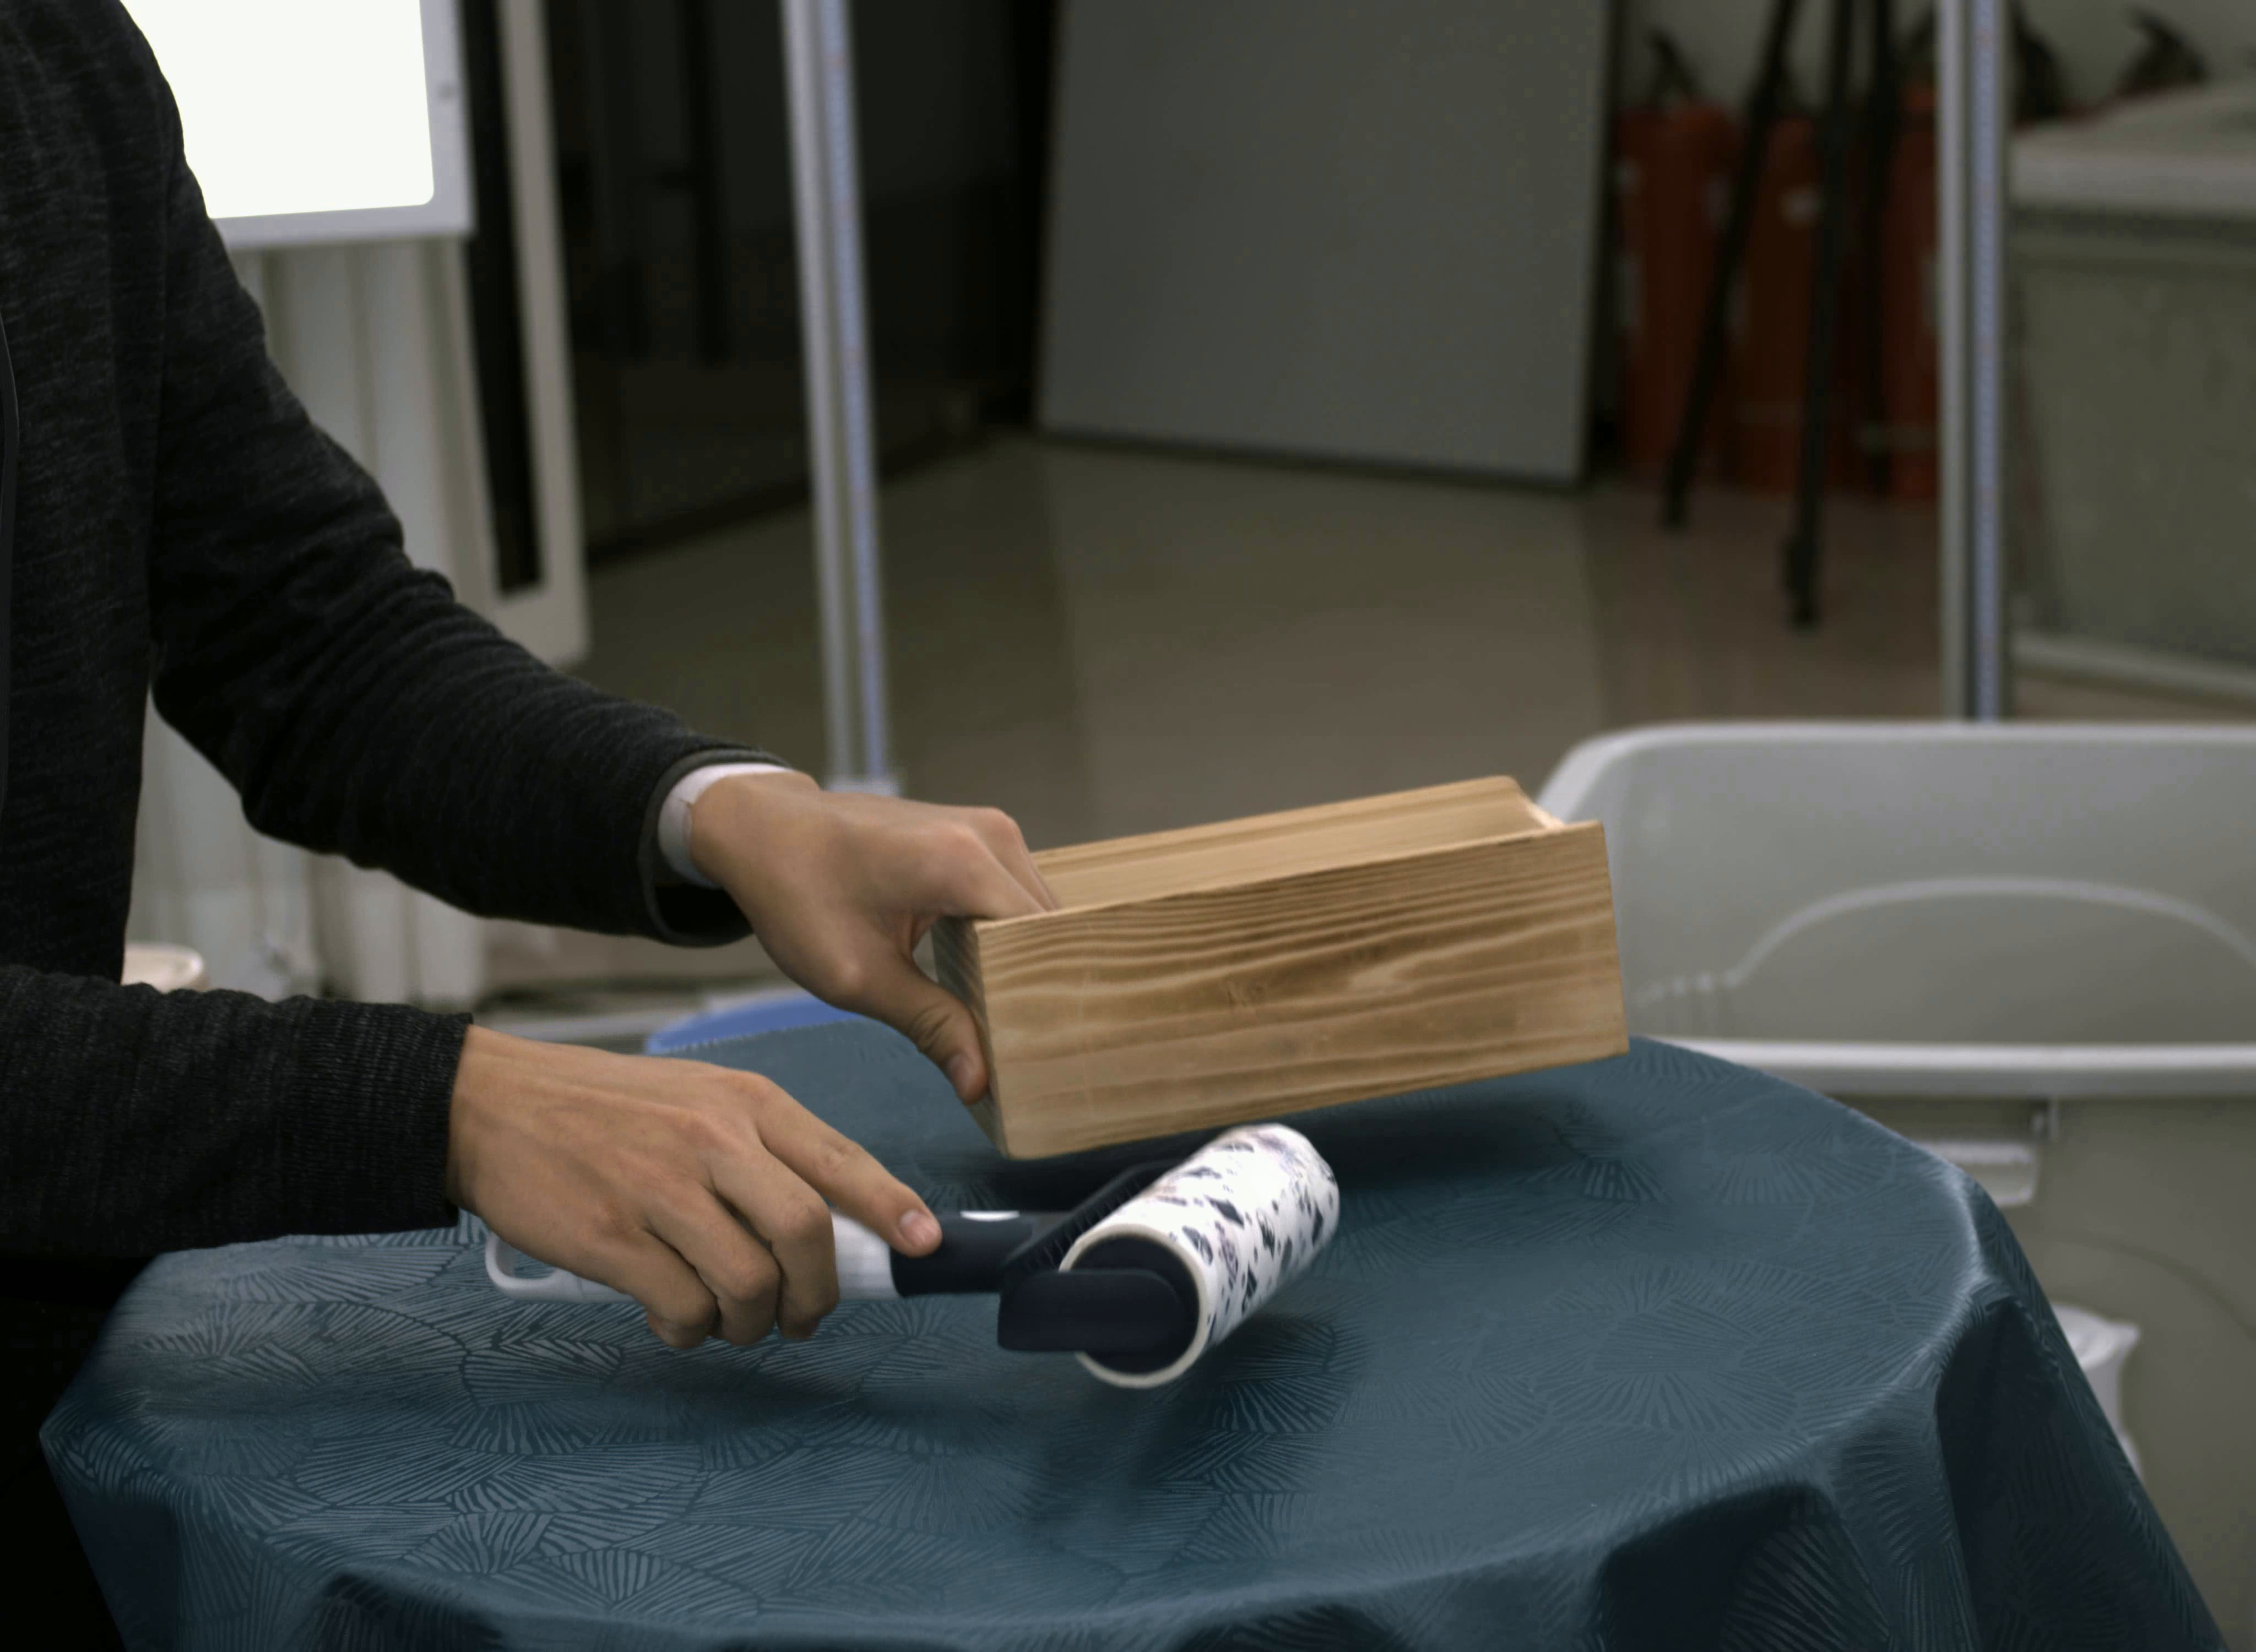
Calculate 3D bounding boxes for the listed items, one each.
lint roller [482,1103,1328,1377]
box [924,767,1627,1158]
[{"bbox_3d":[-0.076,0.121,1.594,0.246,0.051,0.175,-1,8,16],"label":"lint roller"},{"bbox_3d":[0.047,0.043,1.782,0.208,0.081,0.108,-10,10,-8],"label":"box"}]
